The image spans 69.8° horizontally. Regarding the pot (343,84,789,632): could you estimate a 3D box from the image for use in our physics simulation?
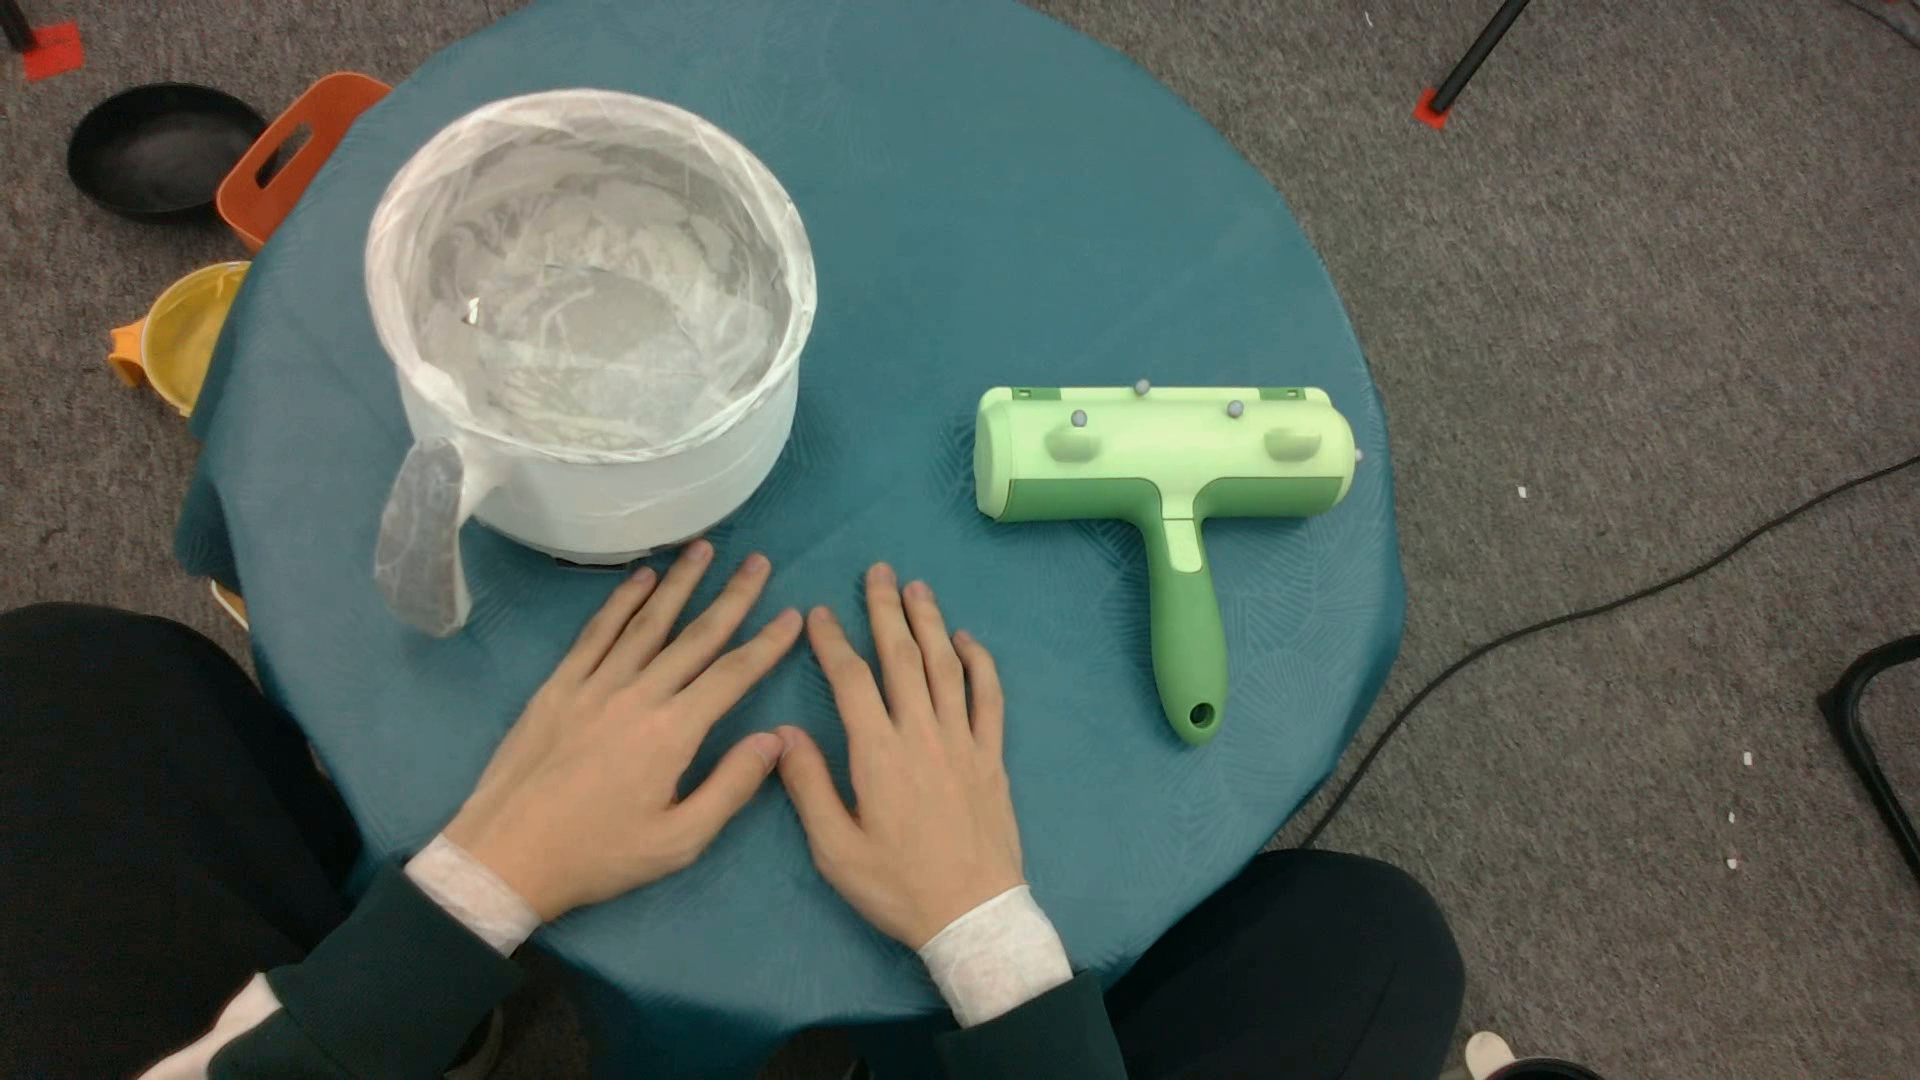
[{"bbox_3d":[-0.184,-0.070,0.609,0.179,0.136,0.234,29,64,0],"label":"pot"}]

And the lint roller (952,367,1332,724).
[{"bbox_3d":[0.104,-0.006,0.685,0.199,0.082,0.184,-2,64,-14],"label":"lint roller"}]
